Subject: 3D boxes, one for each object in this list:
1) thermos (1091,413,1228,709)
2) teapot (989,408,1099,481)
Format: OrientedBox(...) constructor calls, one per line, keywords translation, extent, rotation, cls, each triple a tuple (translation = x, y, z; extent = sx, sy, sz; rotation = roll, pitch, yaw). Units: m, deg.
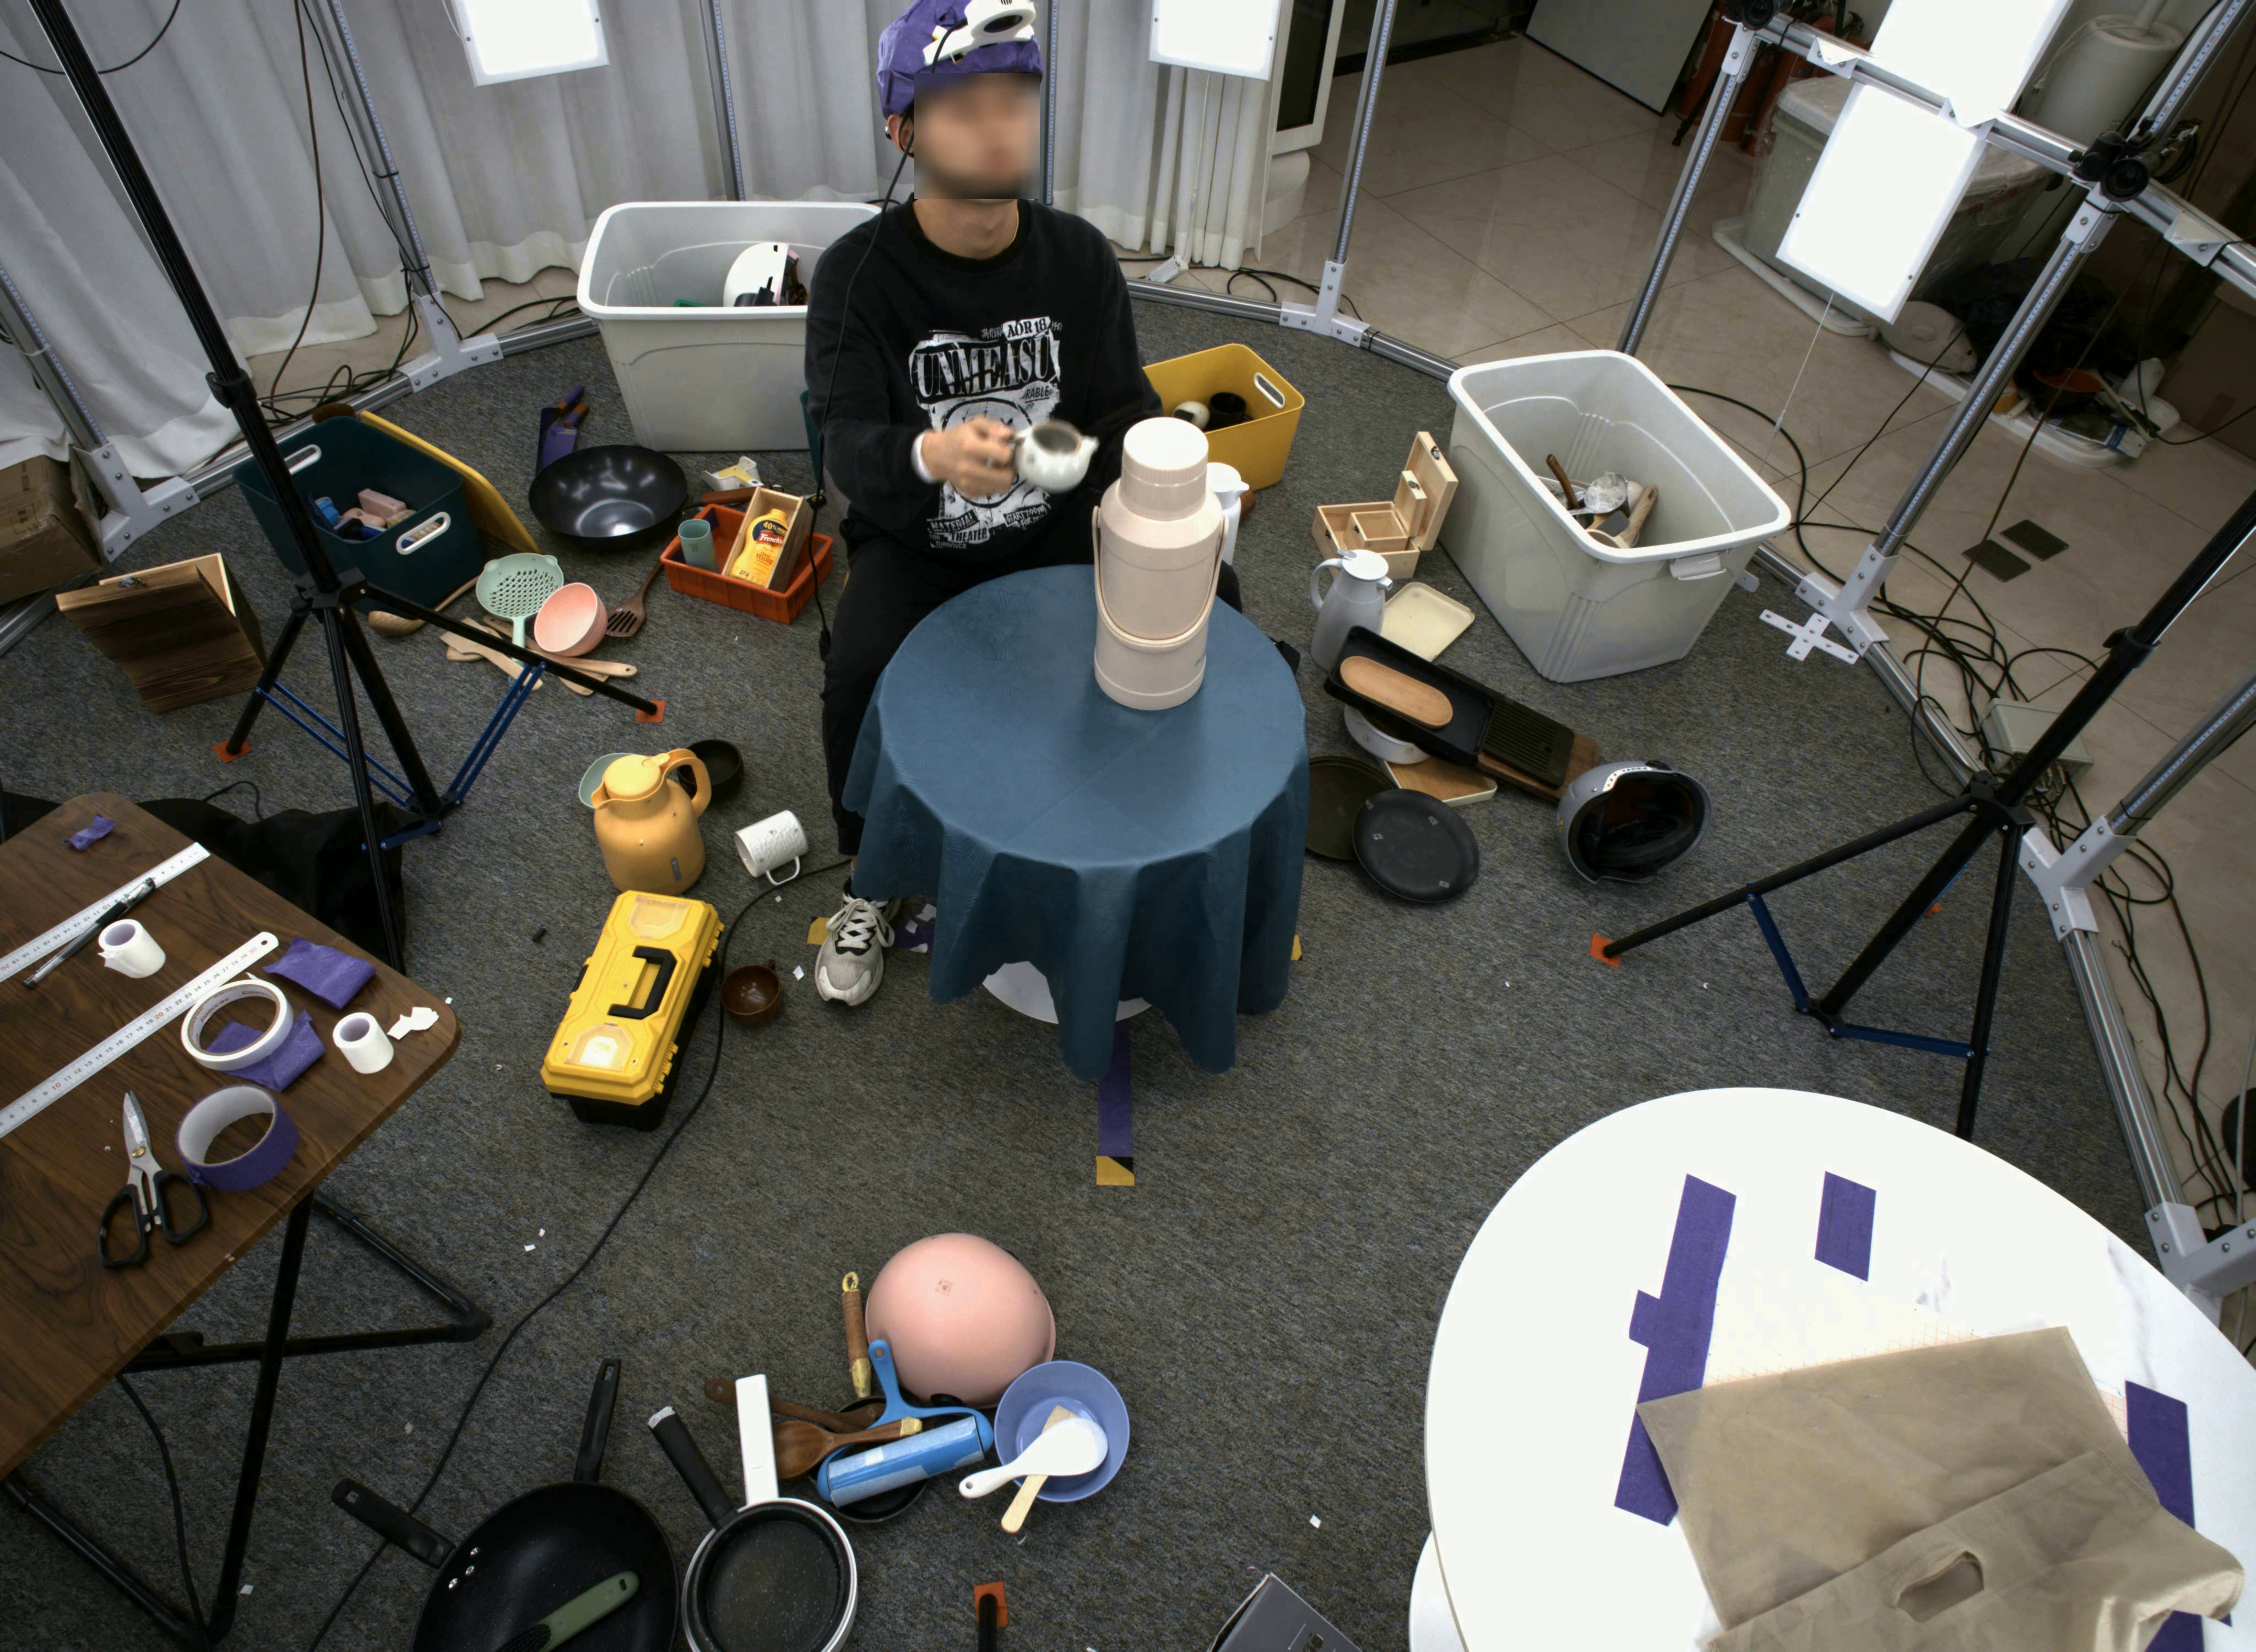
OrientedBox(translation=(0.040, -0.358, 1.722), extent=(0.175, 0.396, 0.212), rotation=(3, 52, 1), cls="thermos")
OrientedBox(translation=(-0.100, -0.451, 1.529), extent=(0.127, 0.058, 0.094), rotation=(-1, 57, -20), cls="teapot")
